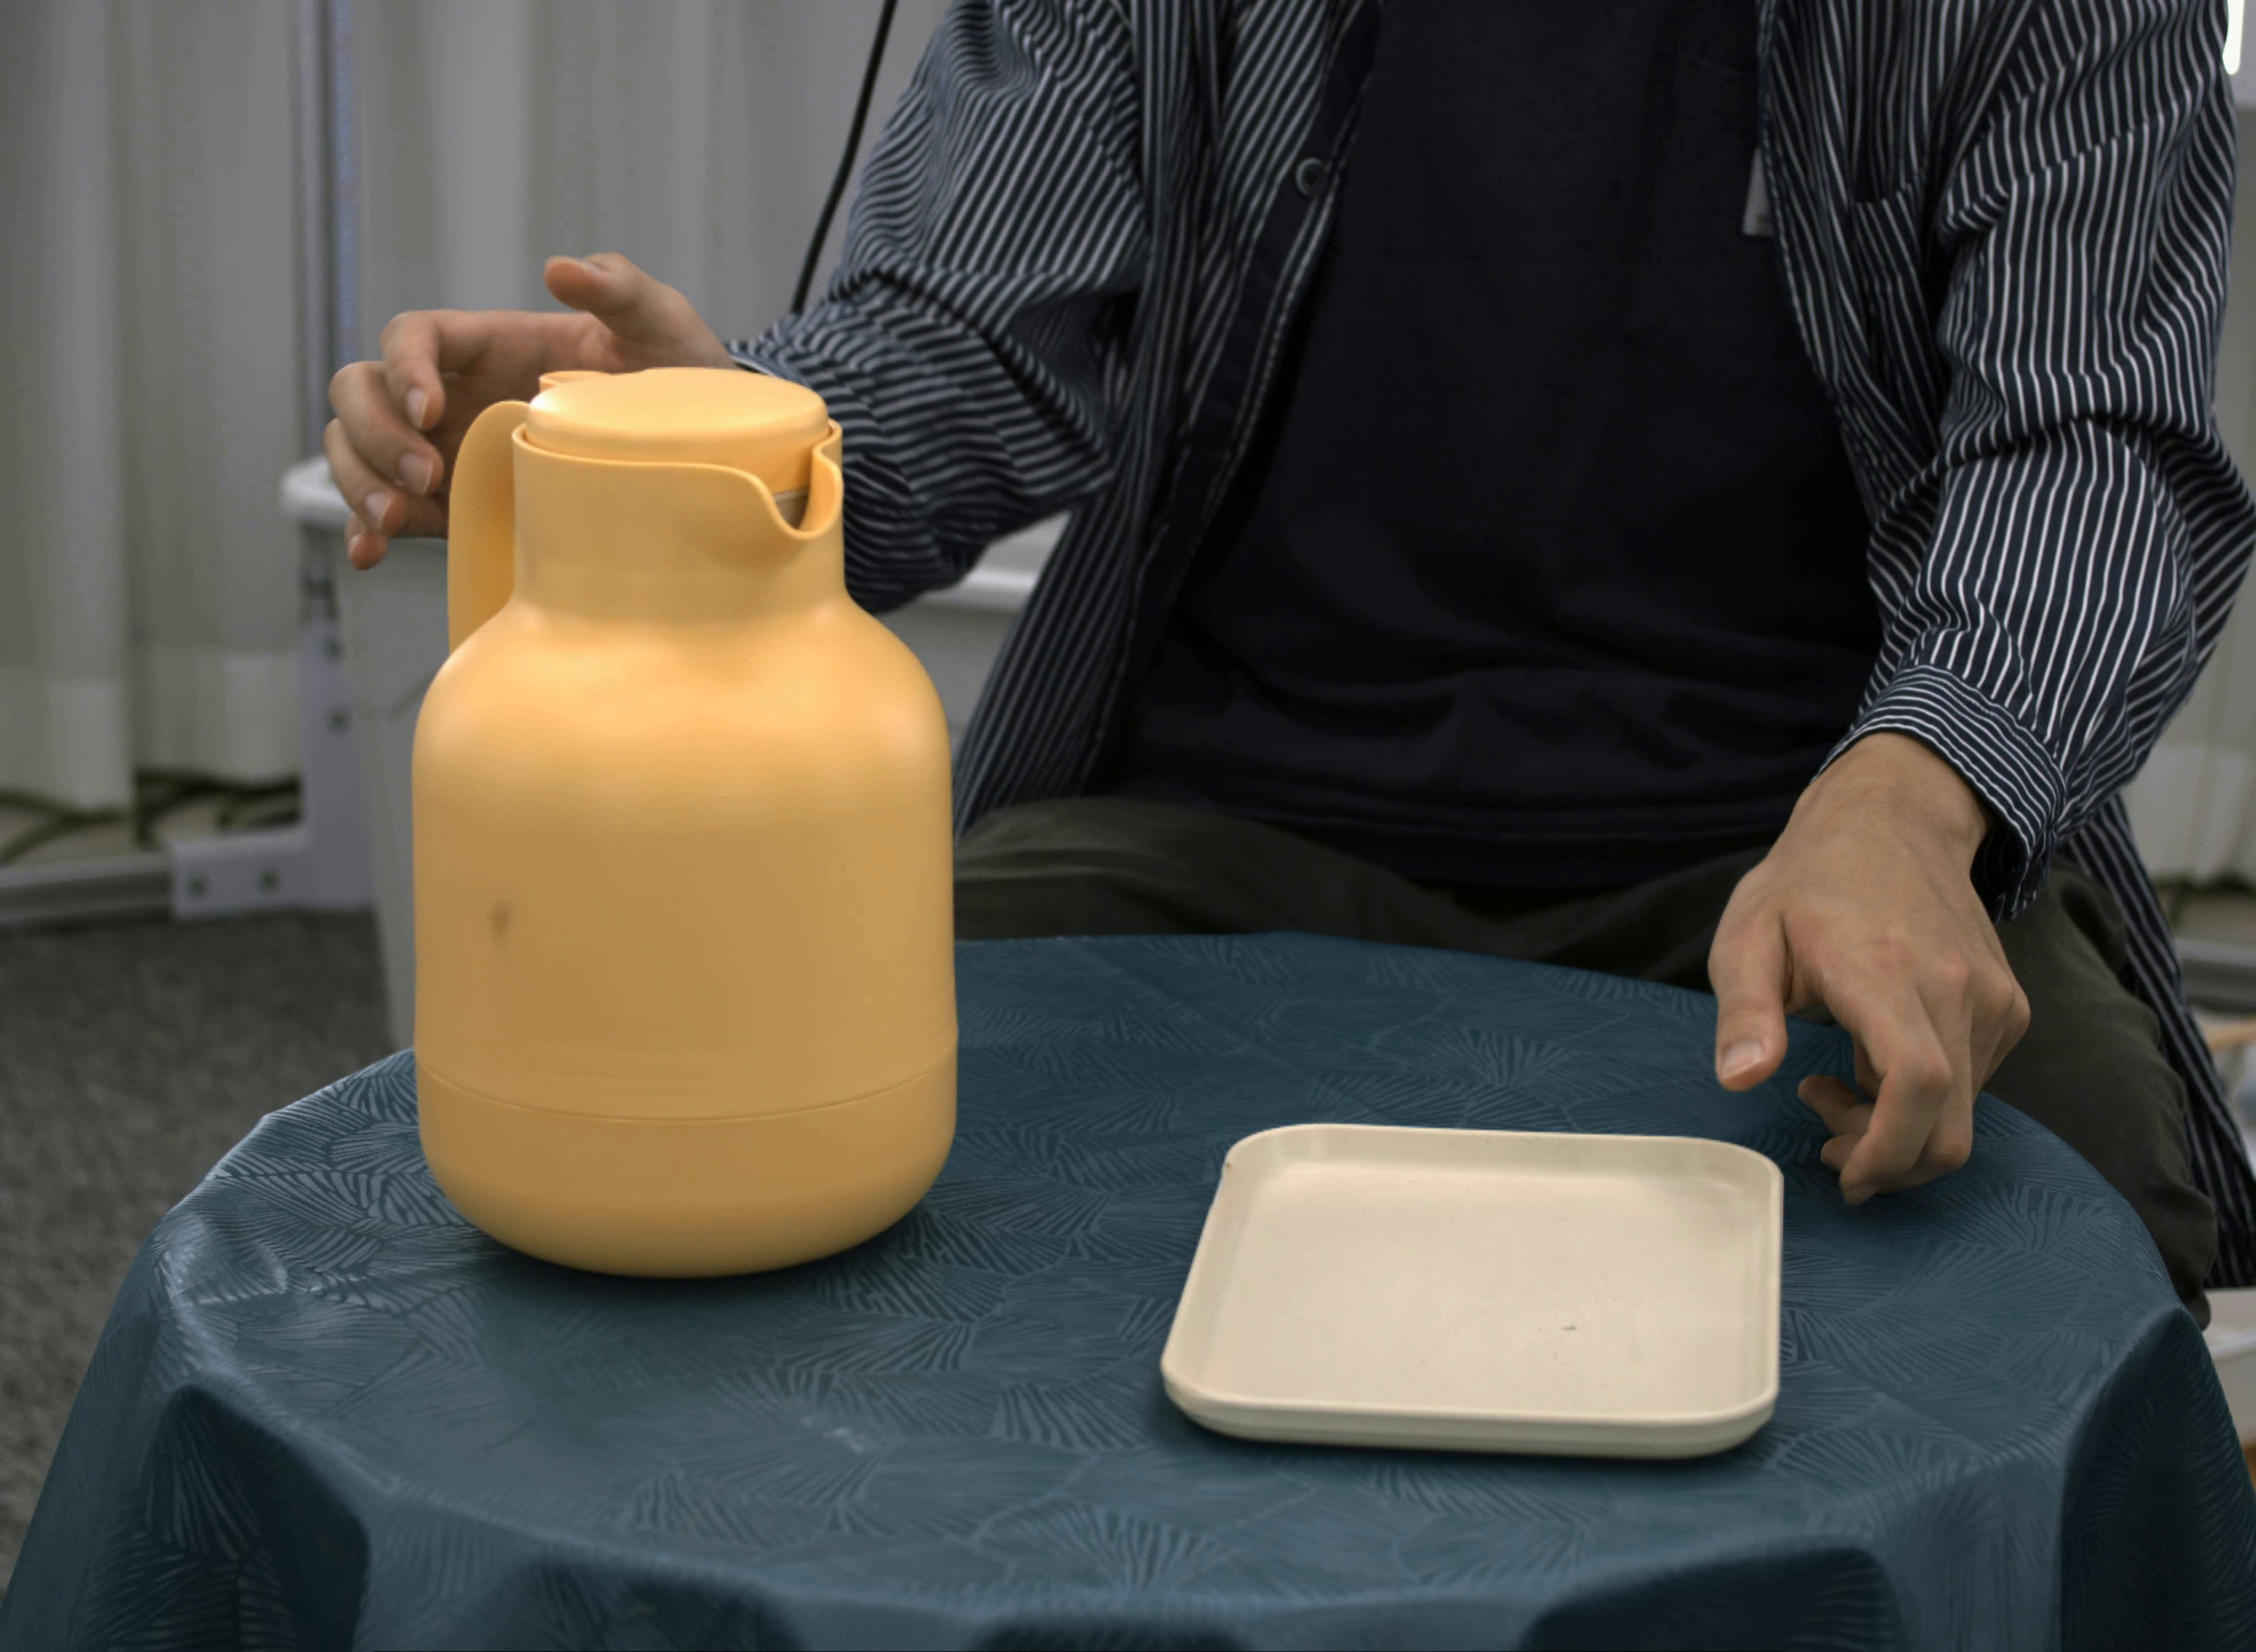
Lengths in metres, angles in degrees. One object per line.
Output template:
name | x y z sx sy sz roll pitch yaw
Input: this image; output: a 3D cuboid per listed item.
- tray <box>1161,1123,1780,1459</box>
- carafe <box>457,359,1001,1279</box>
tray | 0.103 0.133 1.525 0.170 0.017 0.239 3 15 6
carafe | -0.129 -0.010 1.577 0.164 0.262 0.199 -10 20 -37
